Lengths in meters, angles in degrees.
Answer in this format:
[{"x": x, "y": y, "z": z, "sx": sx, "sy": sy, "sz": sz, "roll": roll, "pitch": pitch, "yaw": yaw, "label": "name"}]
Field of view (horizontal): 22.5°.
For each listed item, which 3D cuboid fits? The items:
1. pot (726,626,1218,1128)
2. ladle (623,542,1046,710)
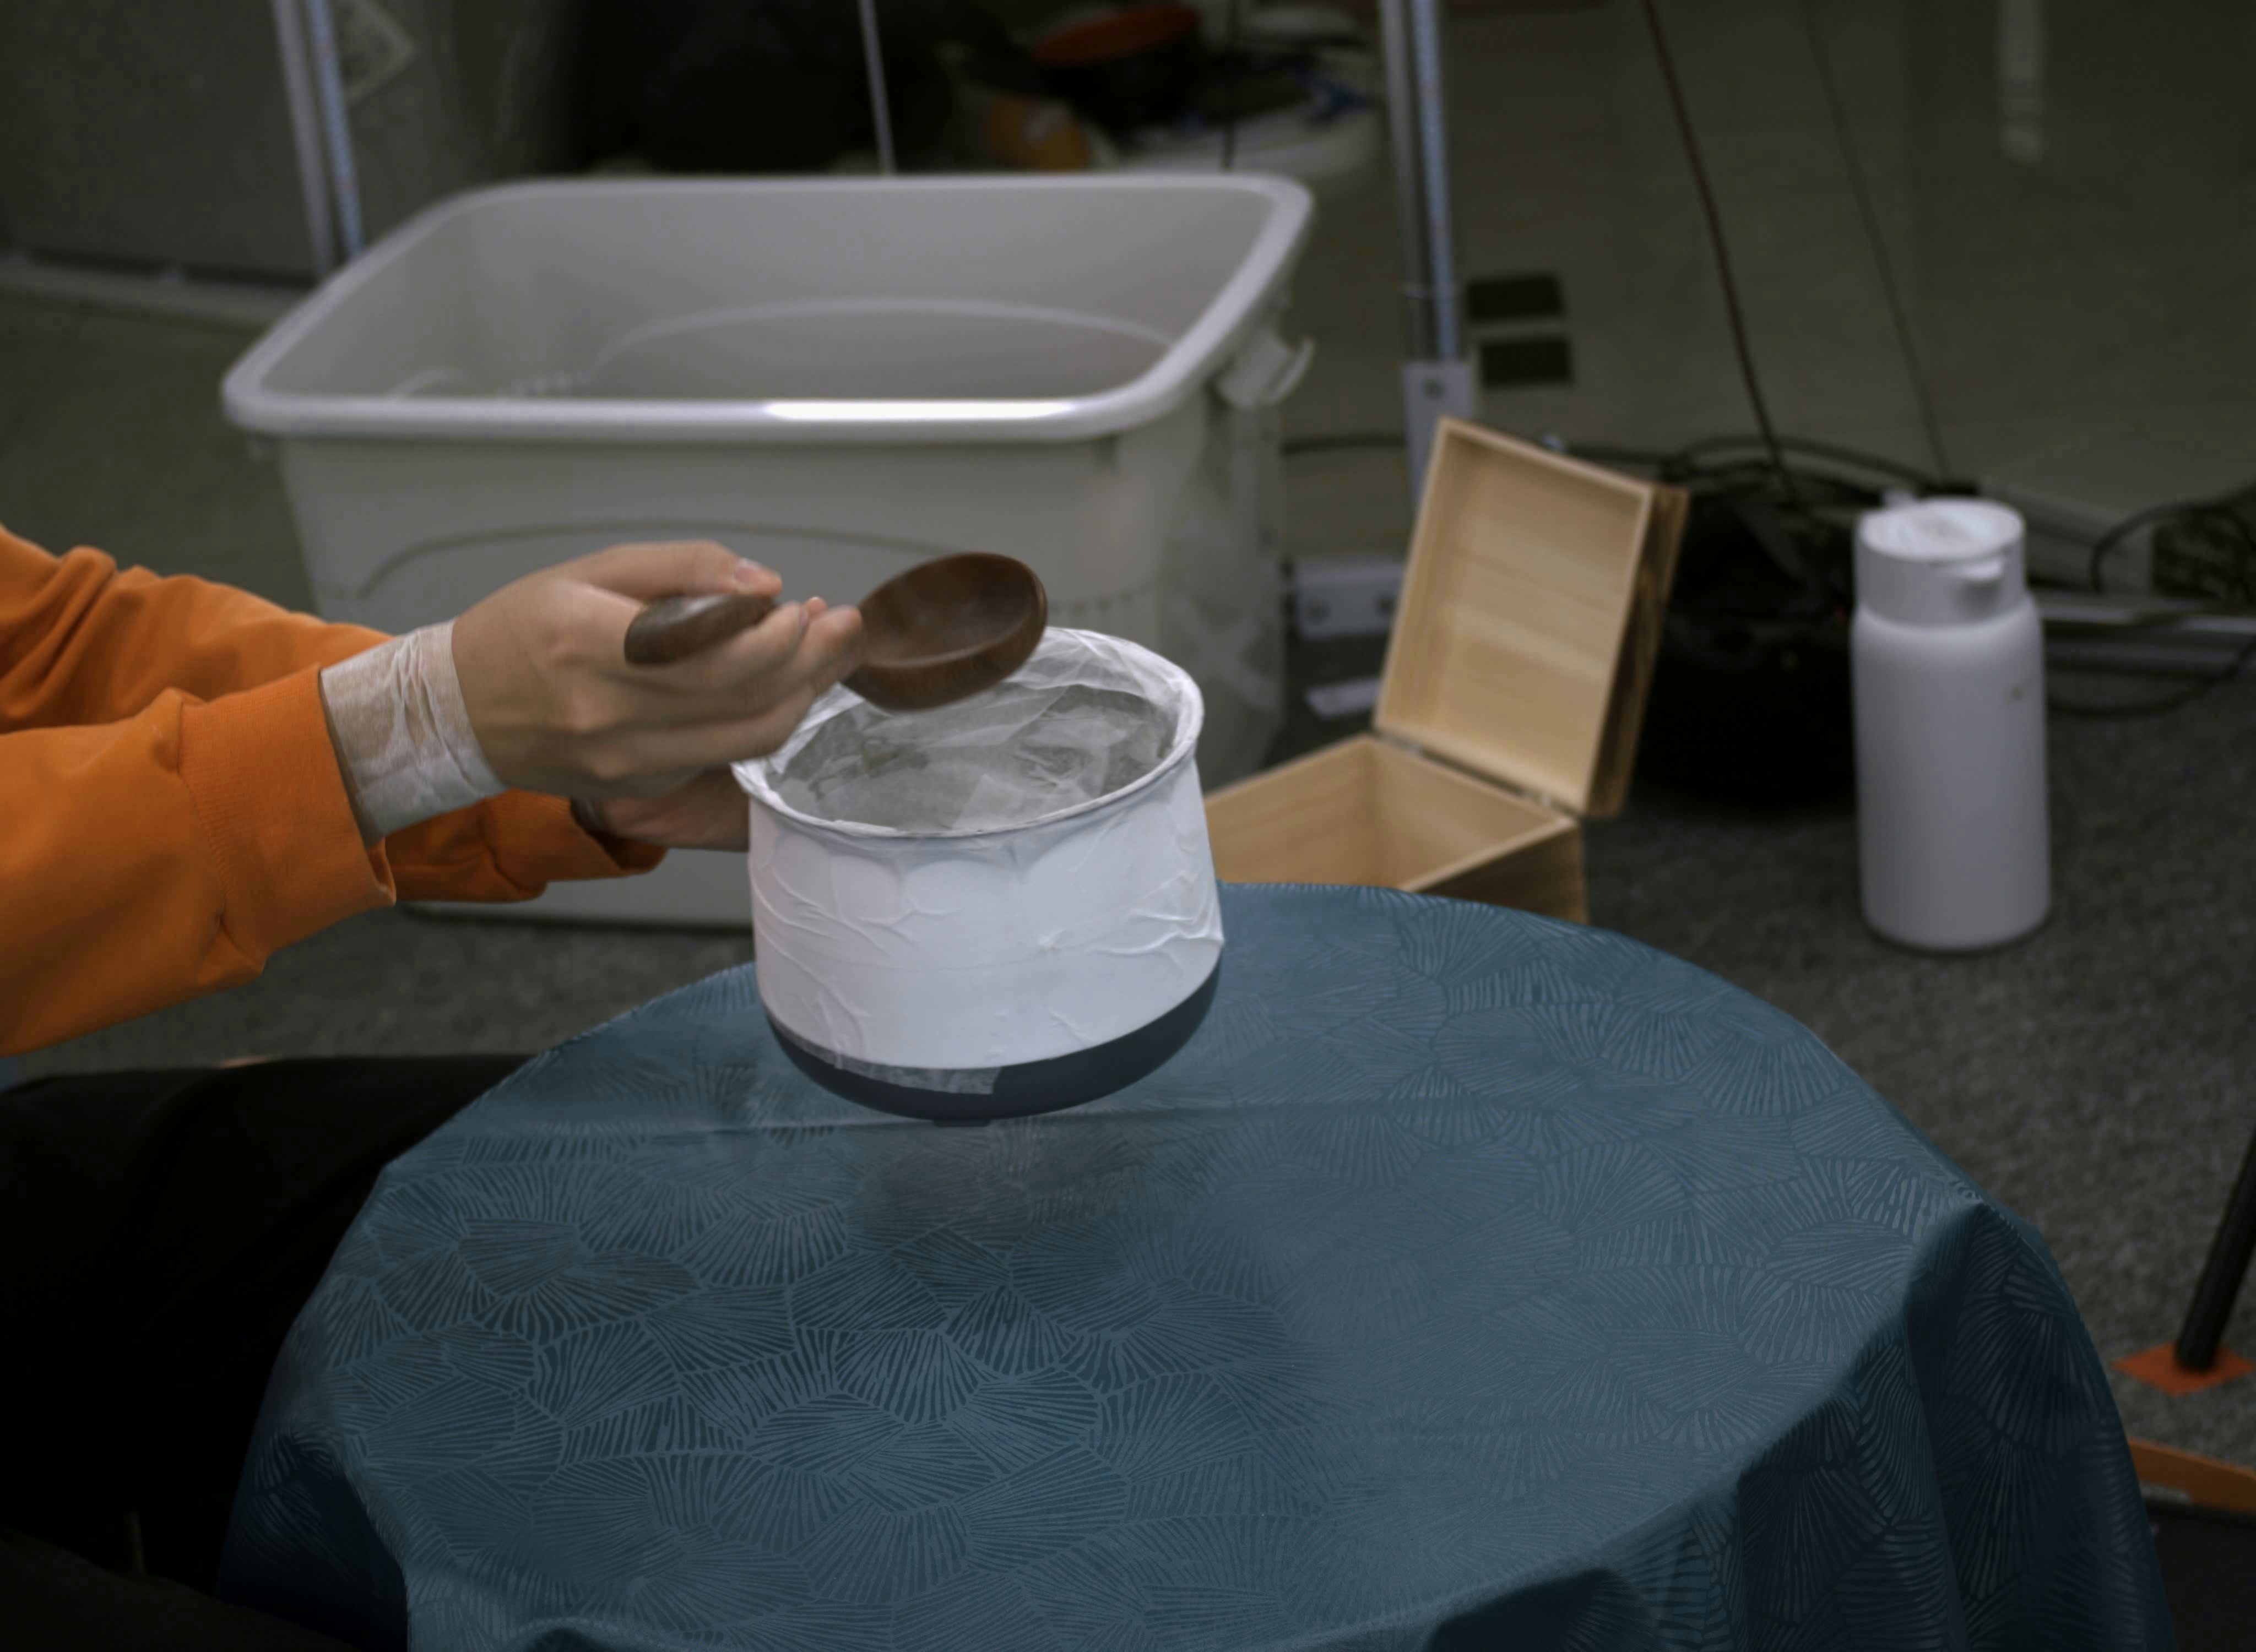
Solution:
[{"x": -0.073, "y": 0.010, "z": 2.140, "sx": 0.177, "sy": 0.139, "sz": 0.231, "roll": -22, "pitch": 32, "yaw": -31, "label": "pot"}, {"x": -0.105, "y": -0.078, "z": 1.932, "sx": 0.076, "sy": 0.065, "sz": 0.261, "roll": -7, "pitch": -7, "yaw": 24, "label": "ladle"}]
